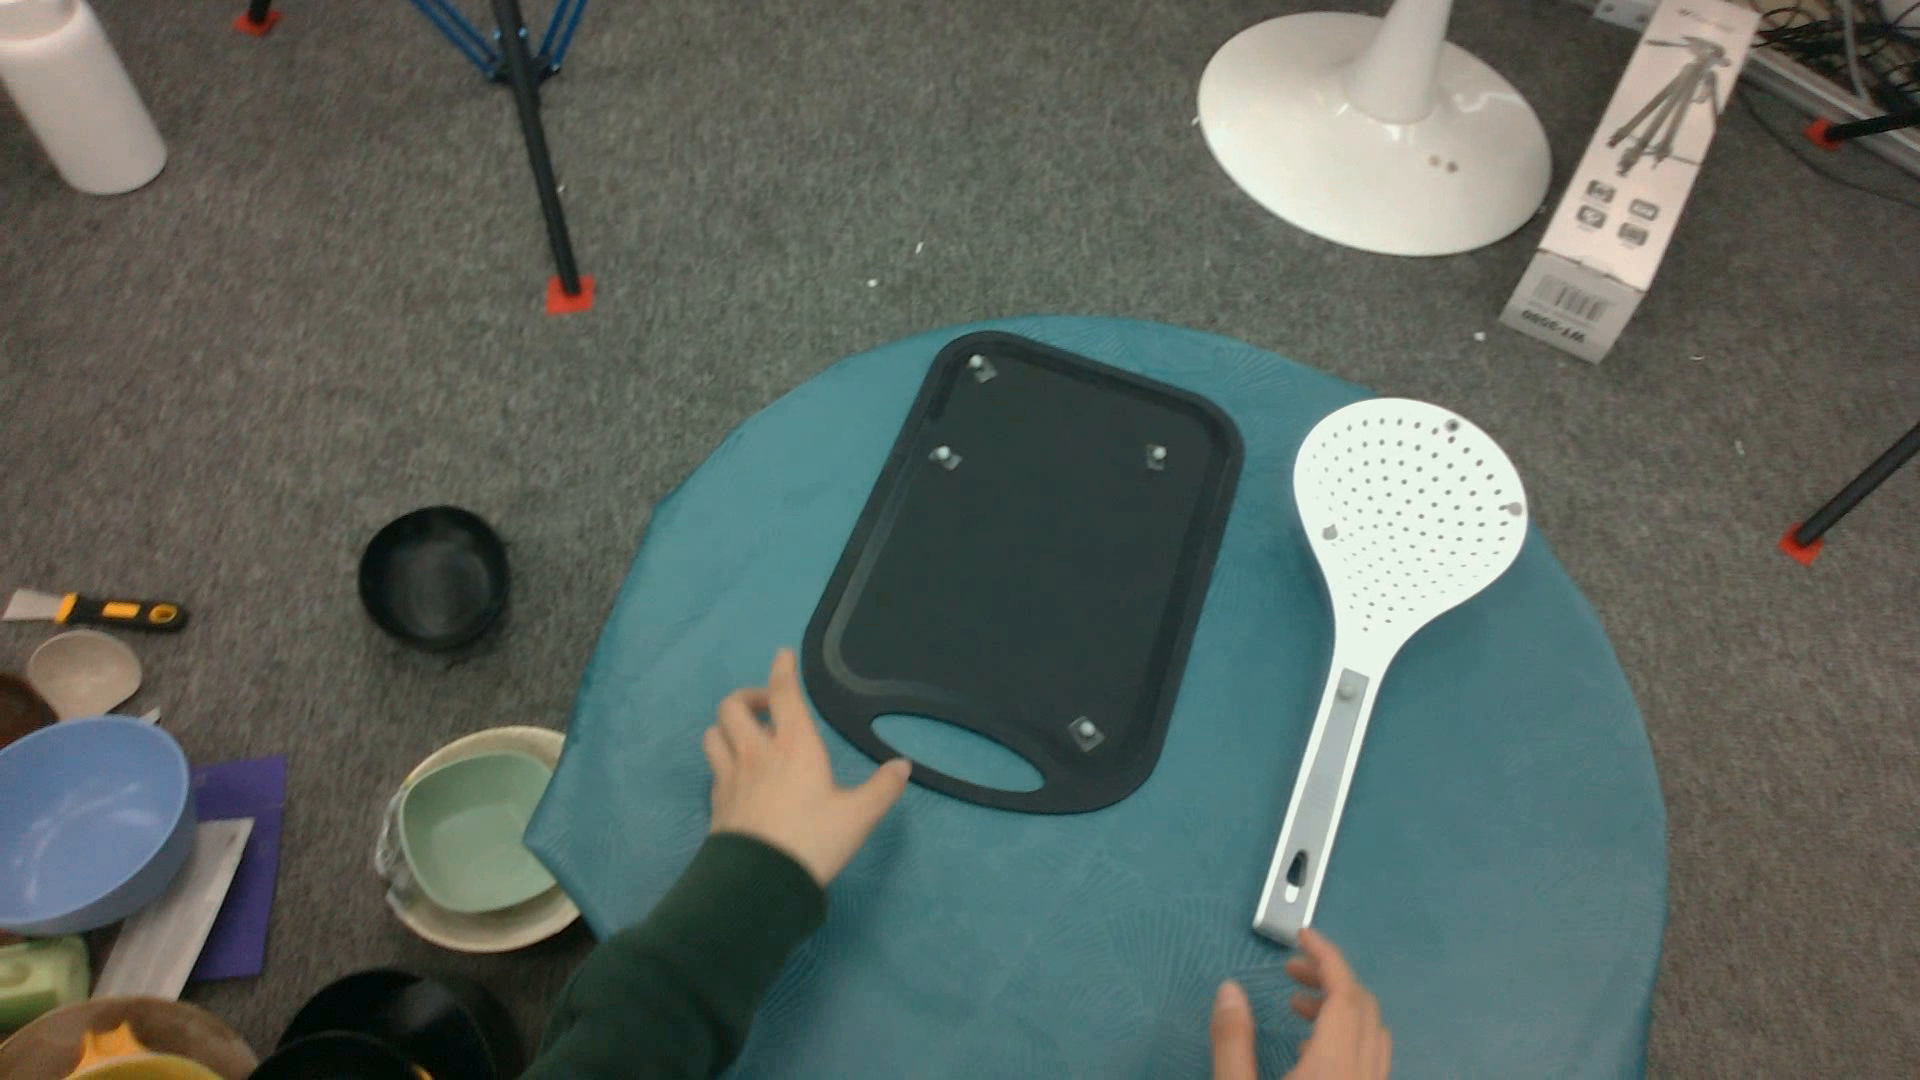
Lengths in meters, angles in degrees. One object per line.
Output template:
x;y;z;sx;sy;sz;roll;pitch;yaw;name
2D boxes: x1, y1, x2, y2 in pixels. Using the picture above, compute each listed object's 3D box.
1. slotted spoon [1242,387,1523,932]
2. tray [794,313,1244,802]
0.225;0.056;0.780;0.136;0.045;0.351;21;59;9;slotted spoon
0.041;0.000;0.815;0.211;0.010;0.327;20;58;6;tray
